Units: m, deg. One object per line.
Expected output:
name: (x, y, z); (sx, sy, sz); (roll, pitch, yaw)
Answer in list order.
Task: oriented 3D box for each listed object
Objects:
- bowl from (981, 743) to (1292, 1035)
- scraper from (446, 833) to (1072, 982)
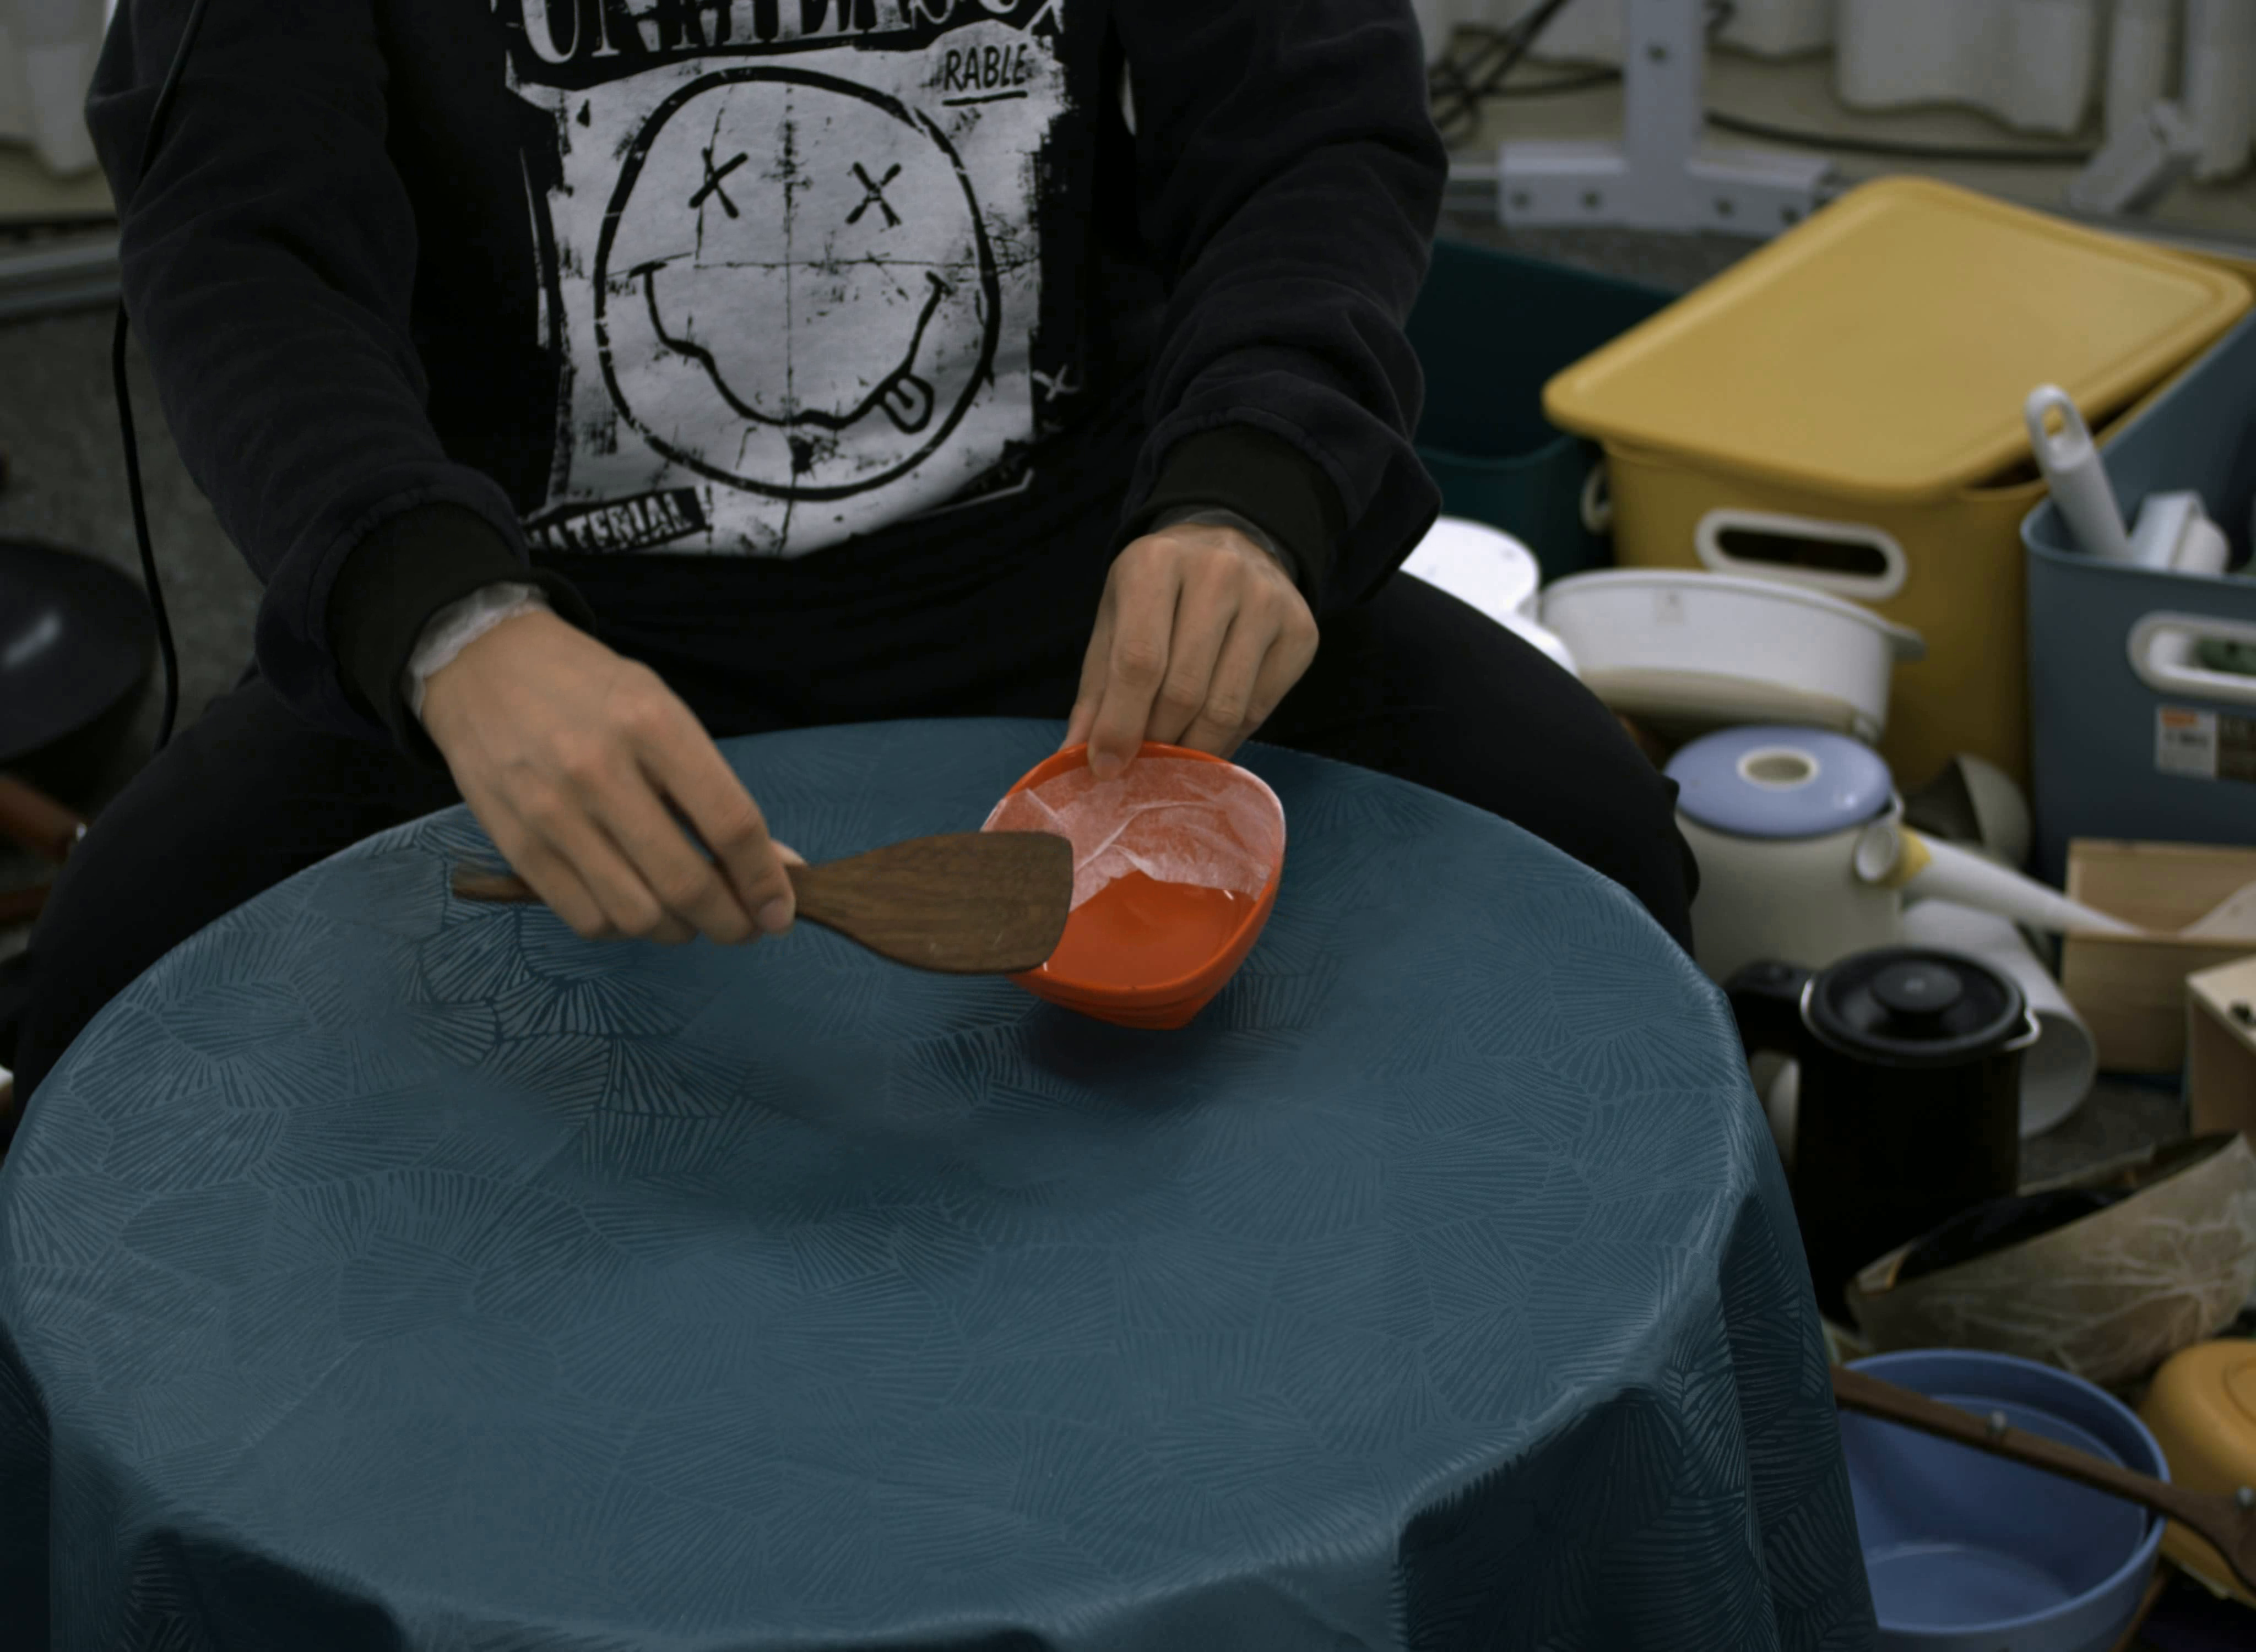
bowl: (0.004, 0.030, 1.962); (0.118, 0.050, 0.121); (-6, 49, 7)
scraper: (-0.124, 0.024, 1.879); (0.210, 0.010, 0.077); (3, 38, 5)
